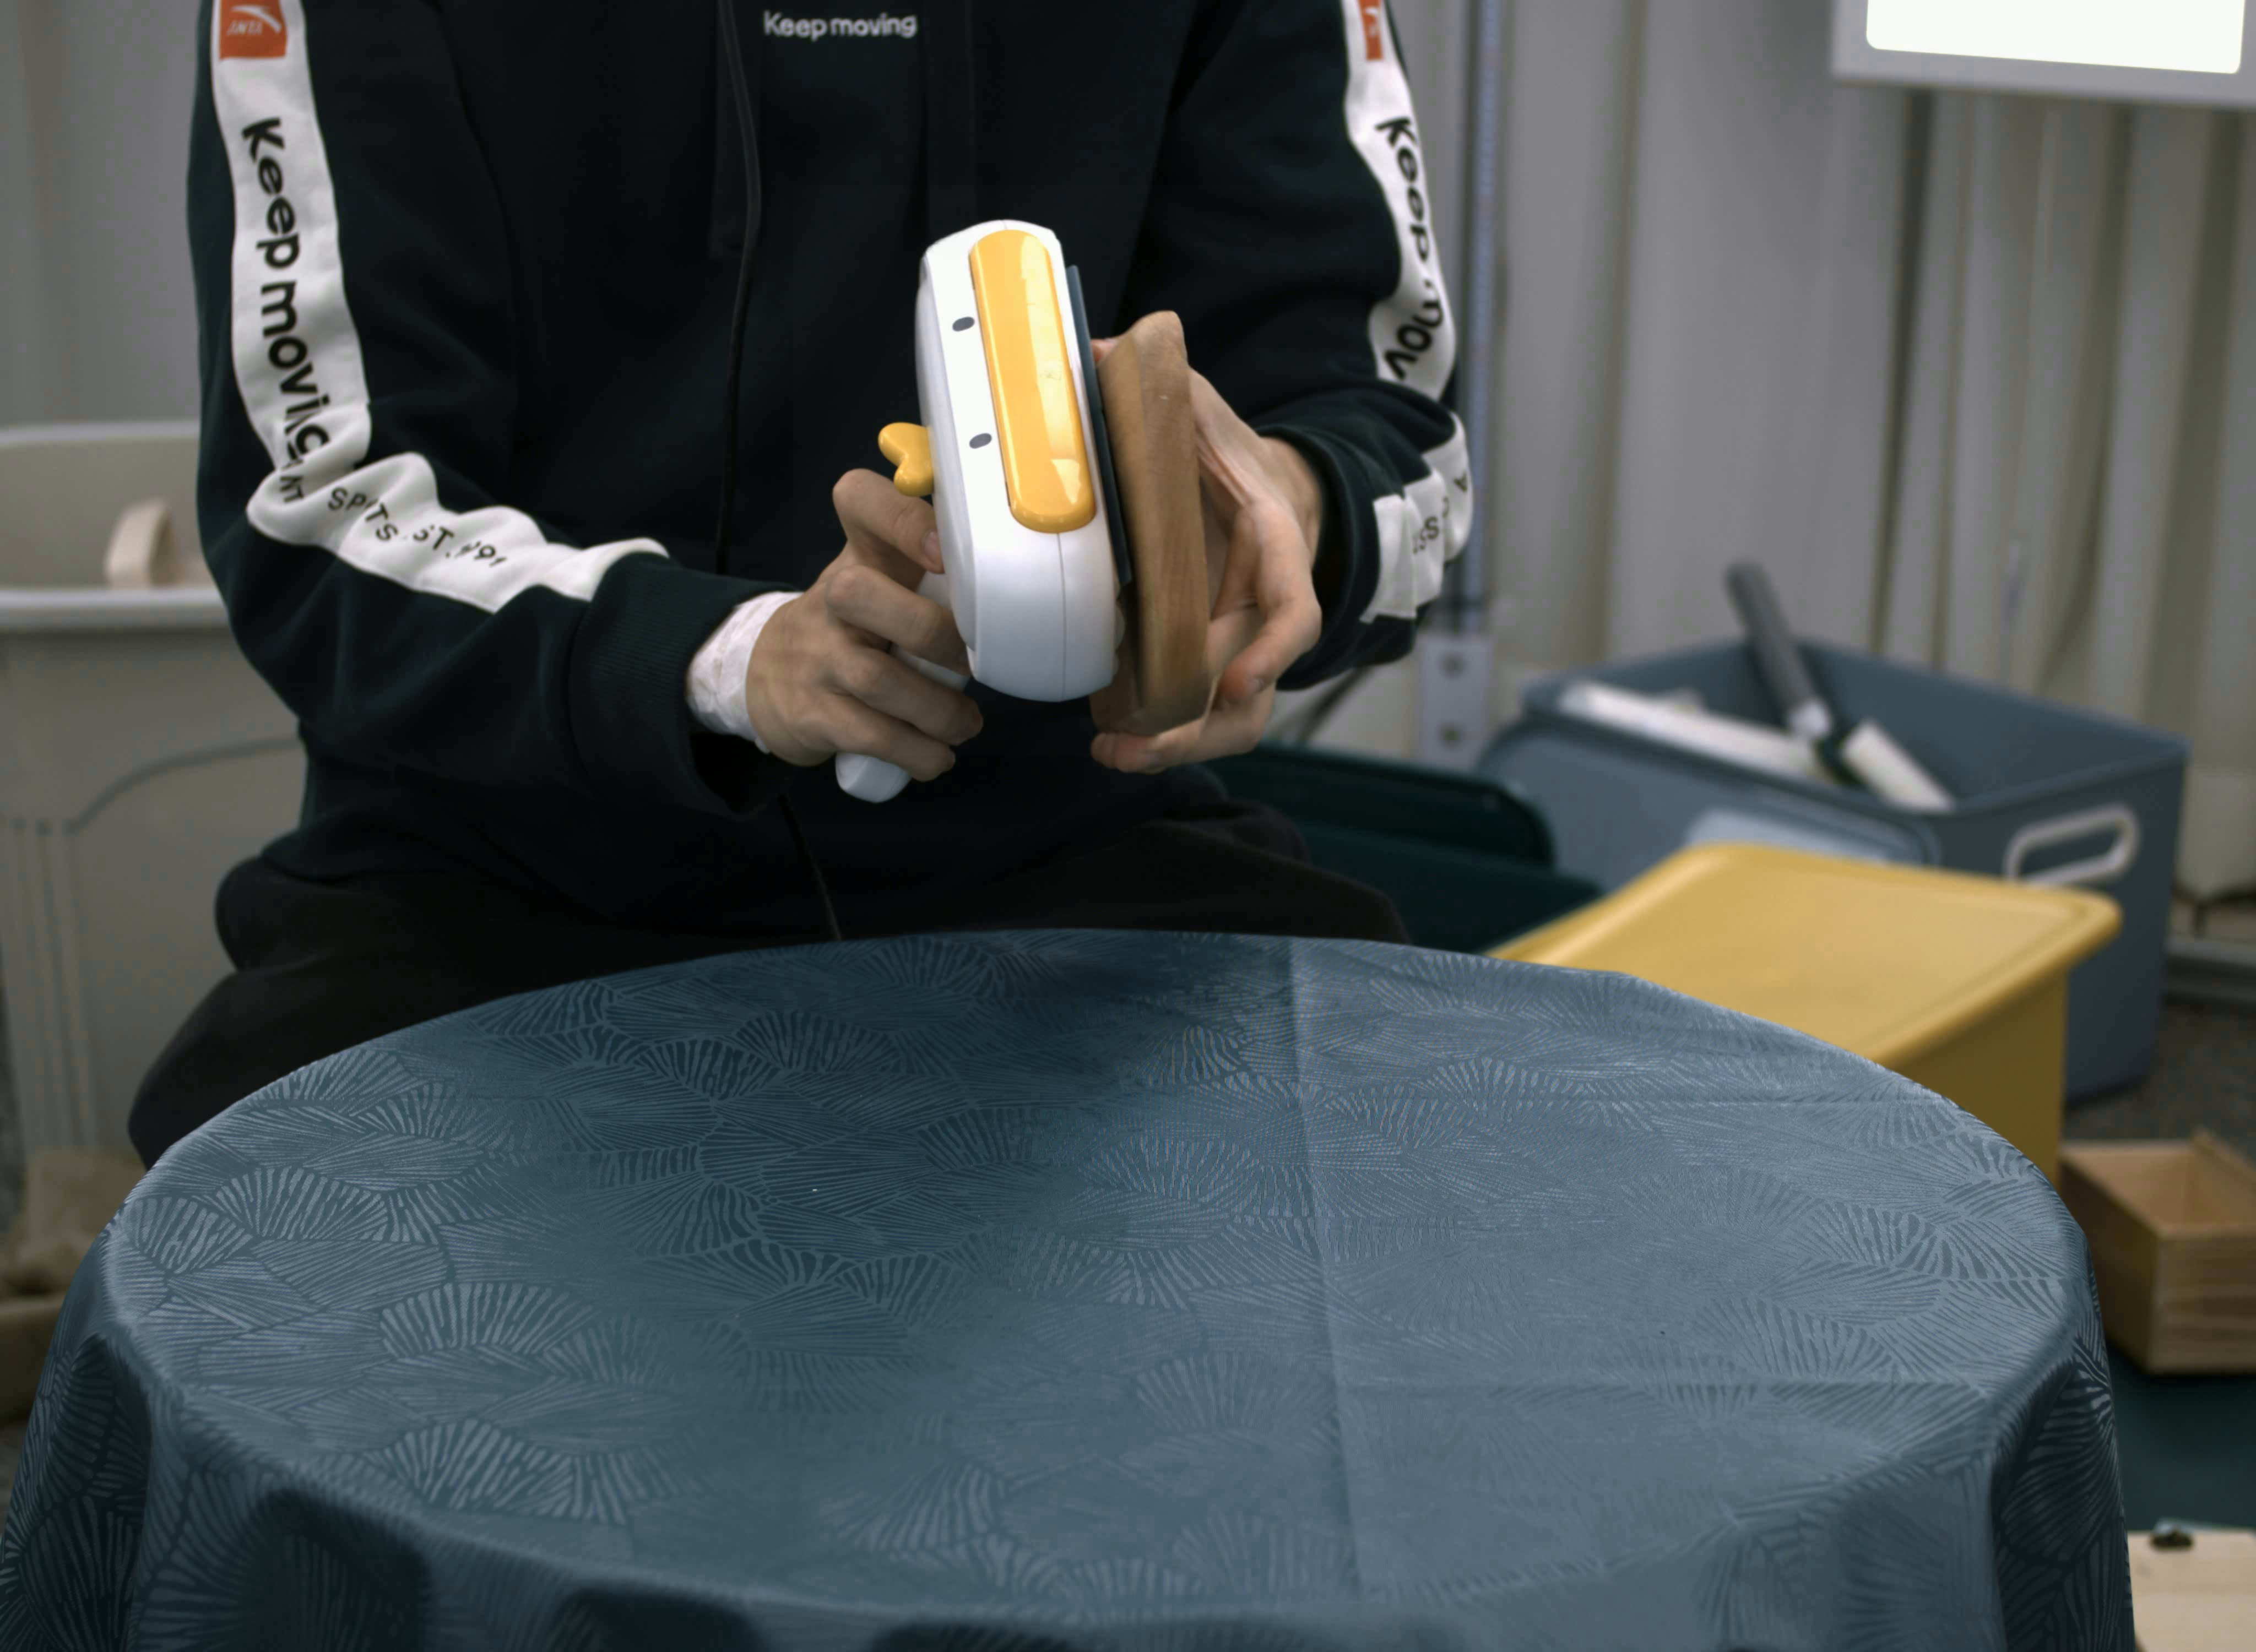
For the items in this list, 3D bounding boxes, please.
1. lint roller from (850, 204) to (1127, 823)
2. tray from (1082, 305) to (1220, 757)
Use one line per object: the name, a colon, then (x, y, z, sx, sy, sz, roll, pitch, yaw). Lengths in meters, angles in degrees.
lint roller: (-0.053, -0.082, 1.745, 0.074, 0.194, 0.190, -3, 42, -16)
tray: (0.003, -0.092, 1.712, 0.023, 0.131, 0.250, -2, -3, -7)
